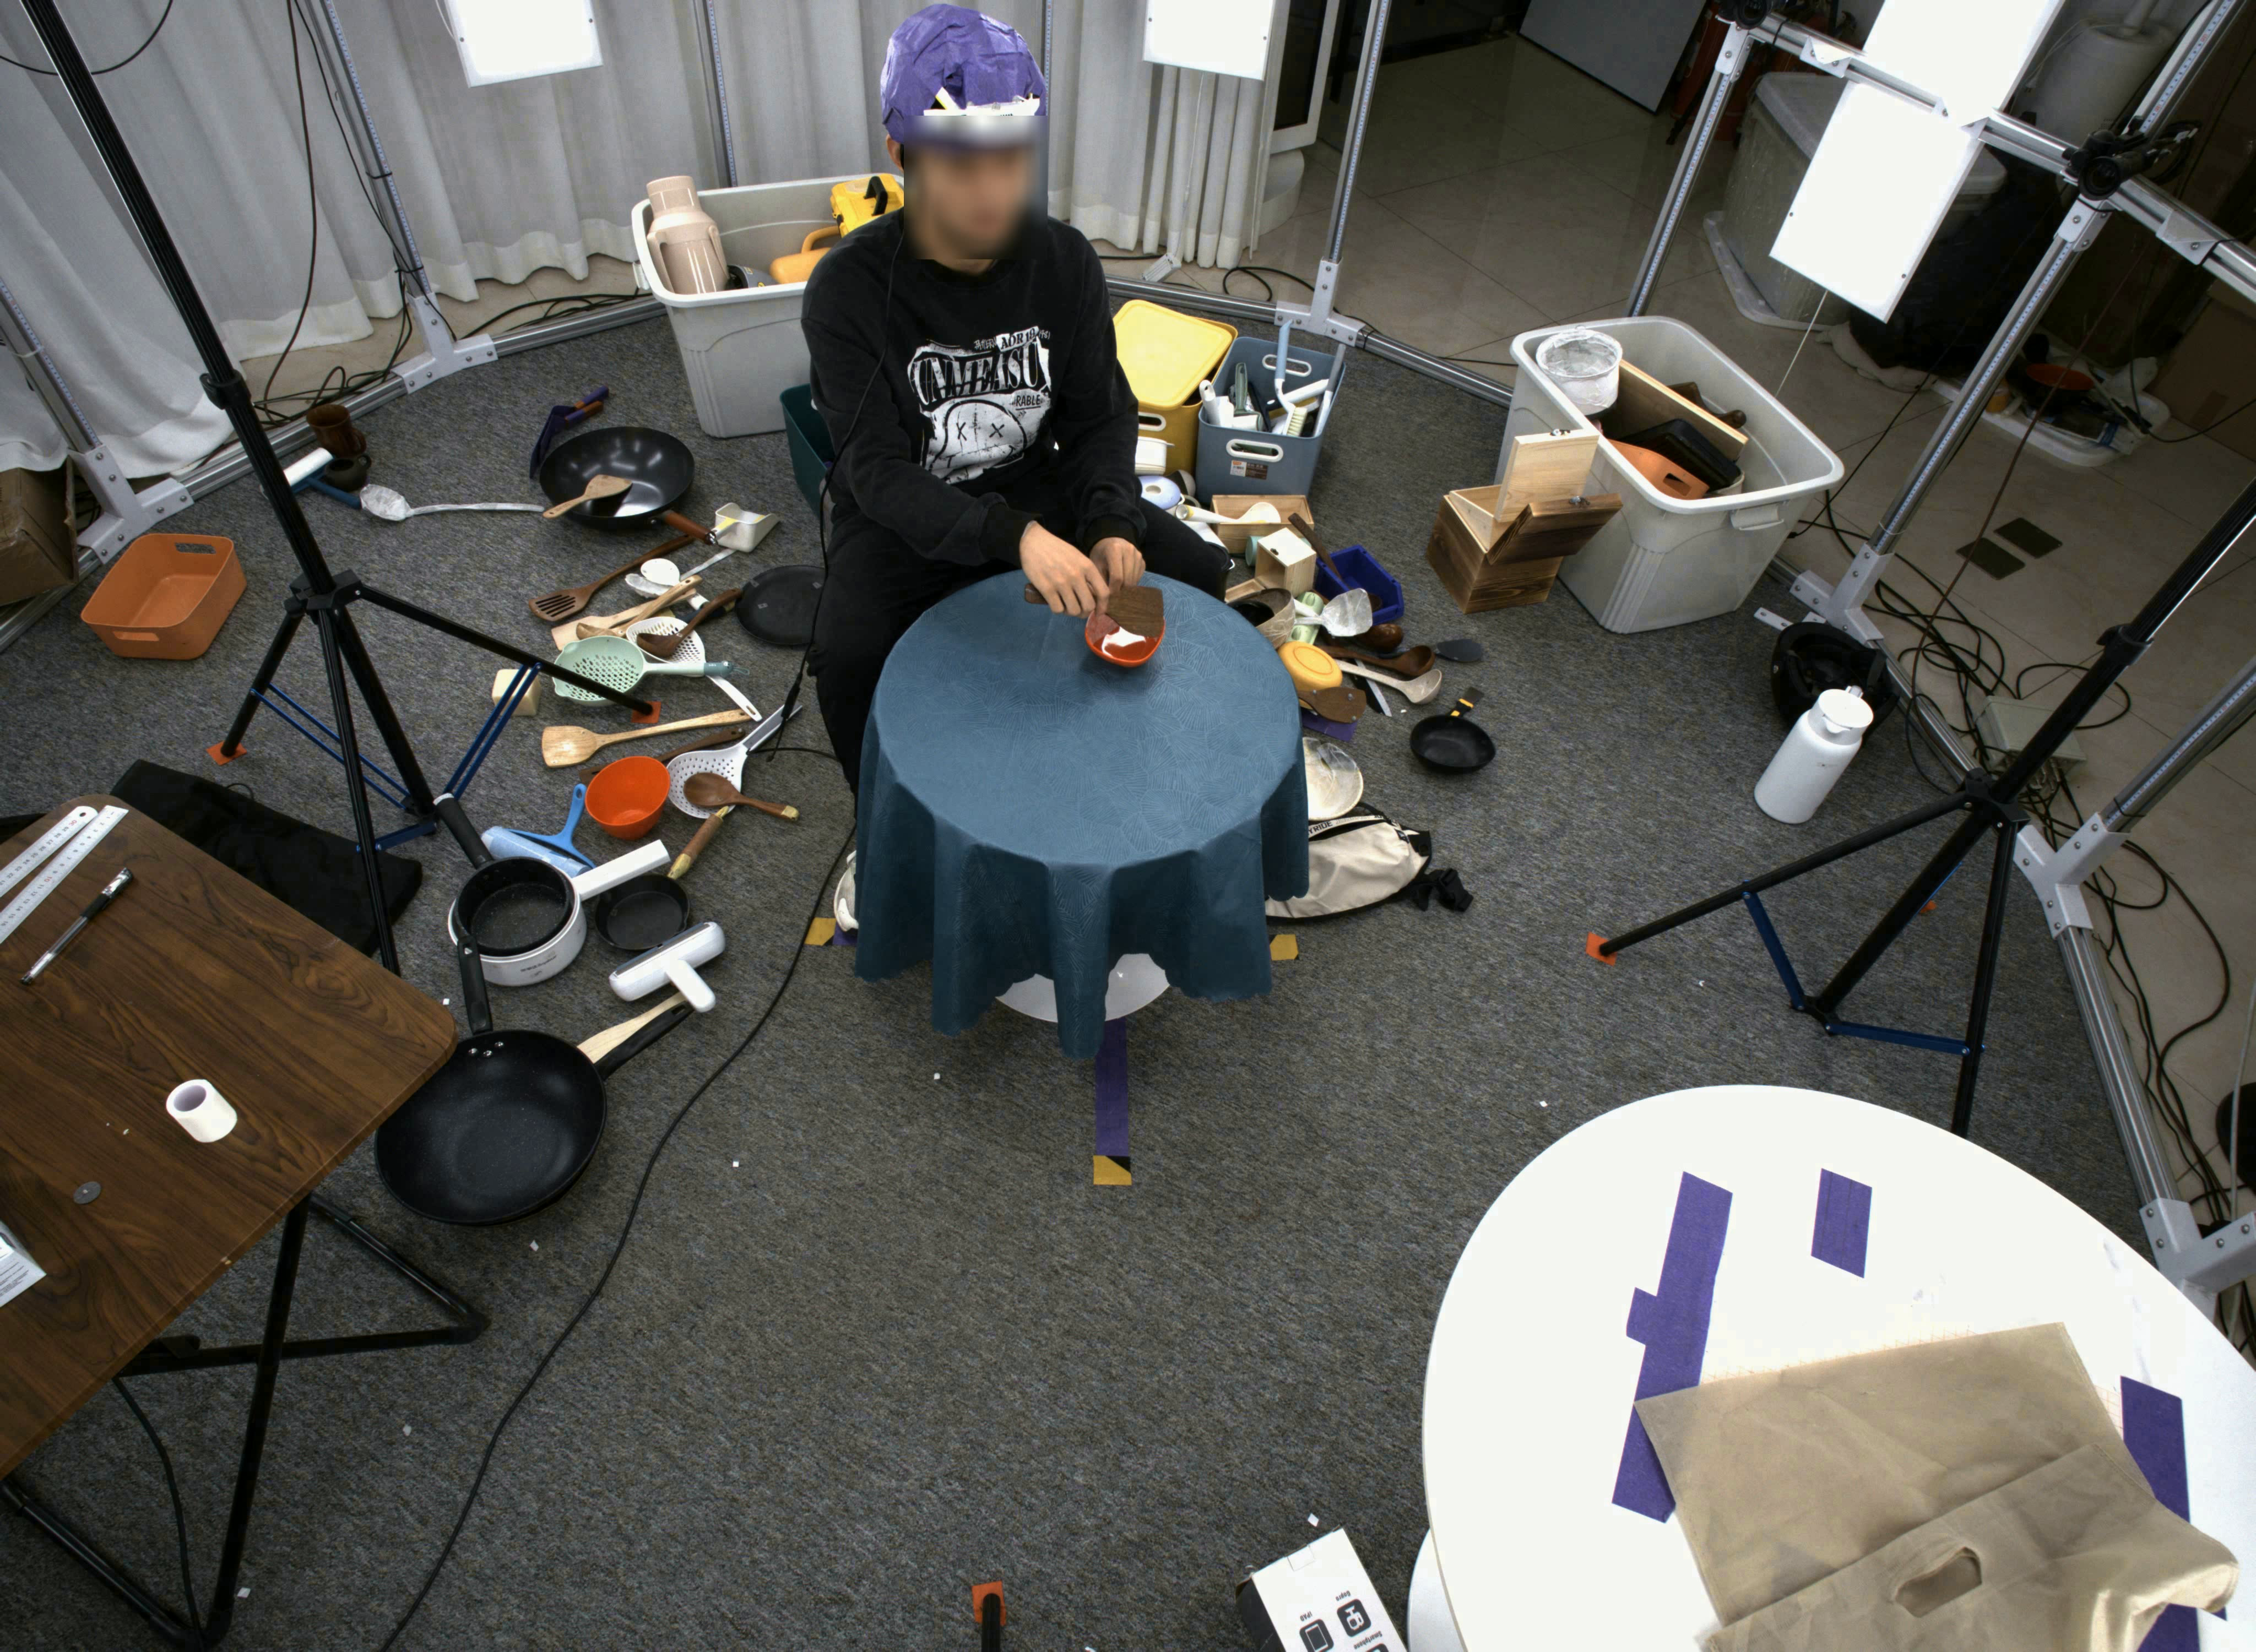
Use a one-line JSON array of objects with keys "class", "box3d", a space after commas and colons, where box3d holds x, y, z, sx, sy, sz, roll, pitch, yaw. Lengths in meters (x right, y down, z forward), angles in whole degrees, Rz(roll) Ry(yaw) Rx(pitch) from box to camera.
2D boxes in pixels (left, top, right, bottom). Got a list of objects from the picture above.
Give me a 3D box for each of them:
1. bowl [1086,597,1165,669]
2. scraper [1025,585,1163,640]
[{"class": "bowl", "box3d": [-0.004, -0.274, 1.881, 0.119, 0.050, 0.121, 0, 65, -1]}, {"class": "scraper", "box3d": [-0.046, -0.312, 1.818, 0.210, 0.011, 0.076, 5, 80, -24]}]
